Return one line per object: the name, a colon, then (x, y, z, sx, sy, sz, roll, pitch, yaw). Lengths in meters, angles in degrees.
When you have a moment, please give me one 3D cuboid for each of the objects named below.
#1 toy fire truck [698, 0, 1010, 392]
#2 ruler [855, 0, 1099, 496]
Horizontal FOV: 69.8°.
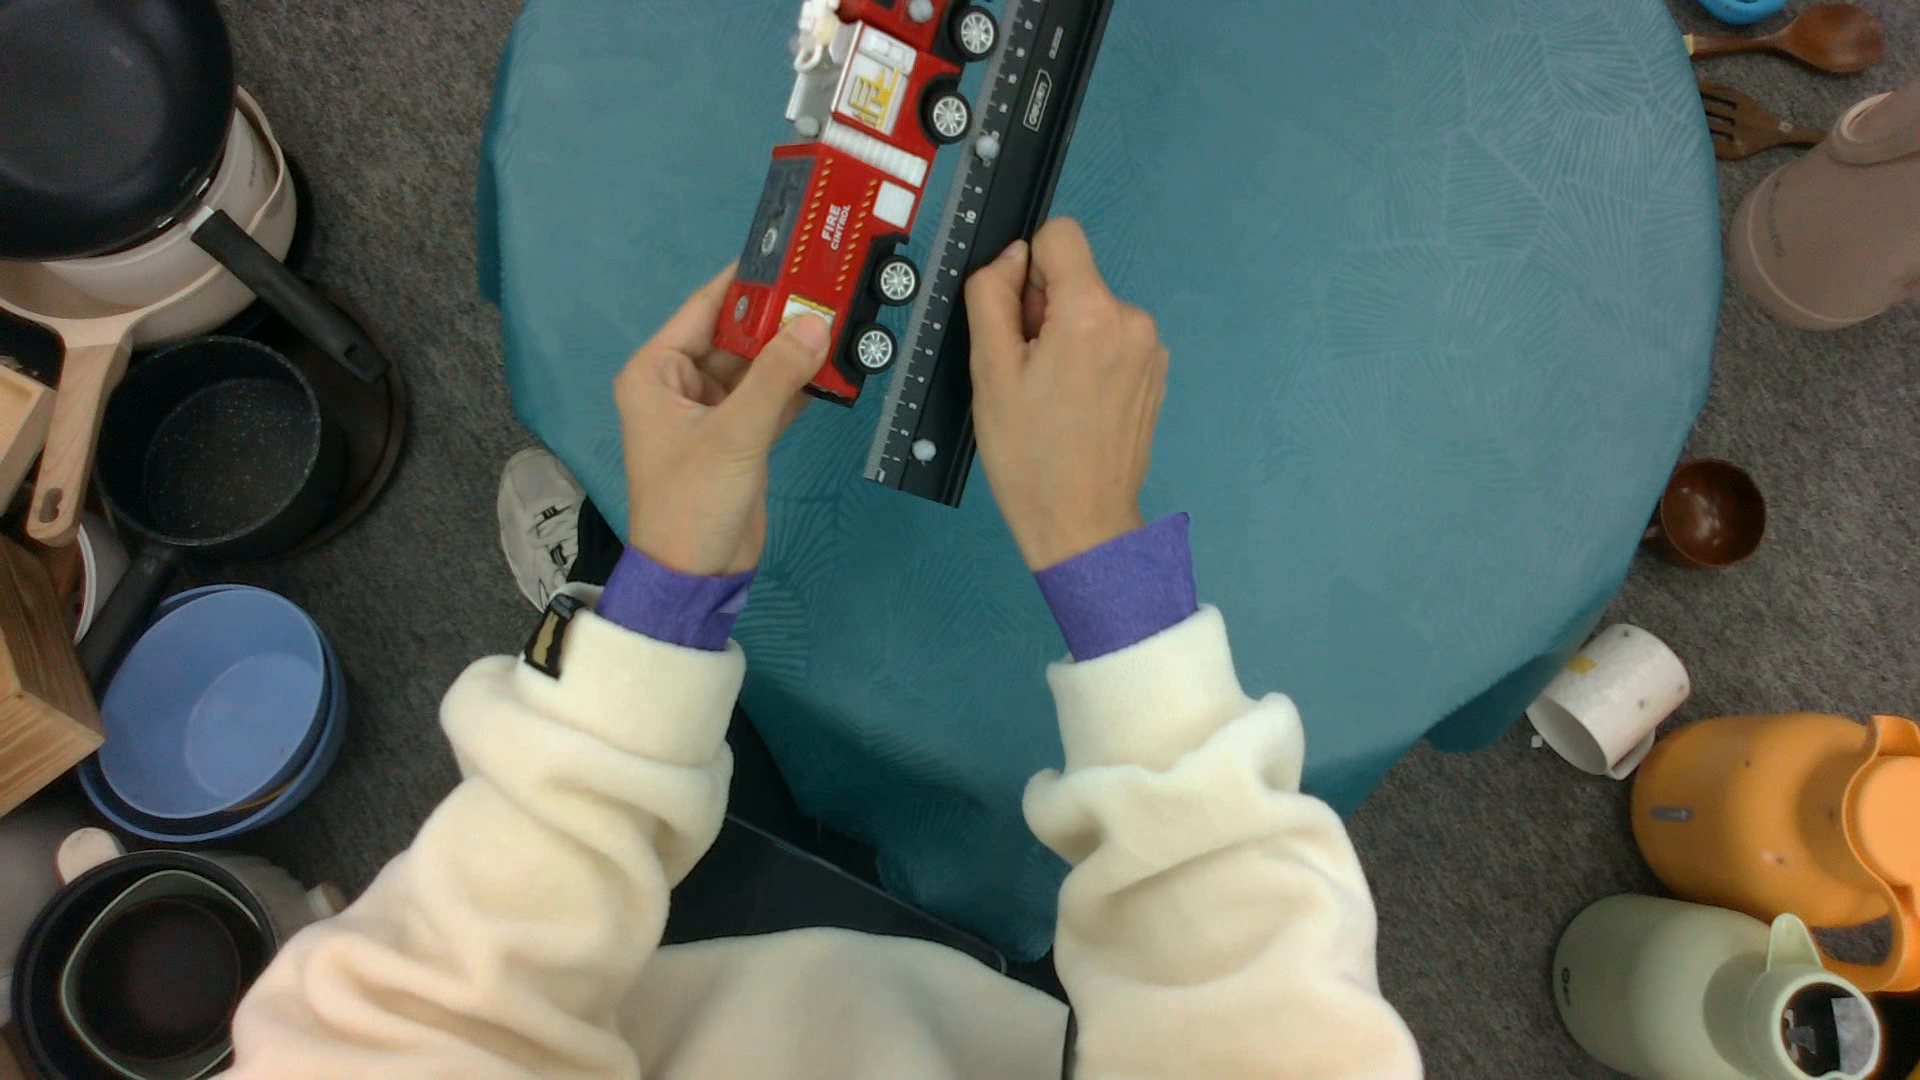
toy fire truck: (-0.040, -0.140, 0.496, 0.070, 0.054, 0.168, 16, 93, -32)
ruler: (0.026, -0.169, 0.497, 0.039, 0.017, 0.312, 18, 89, -24)
